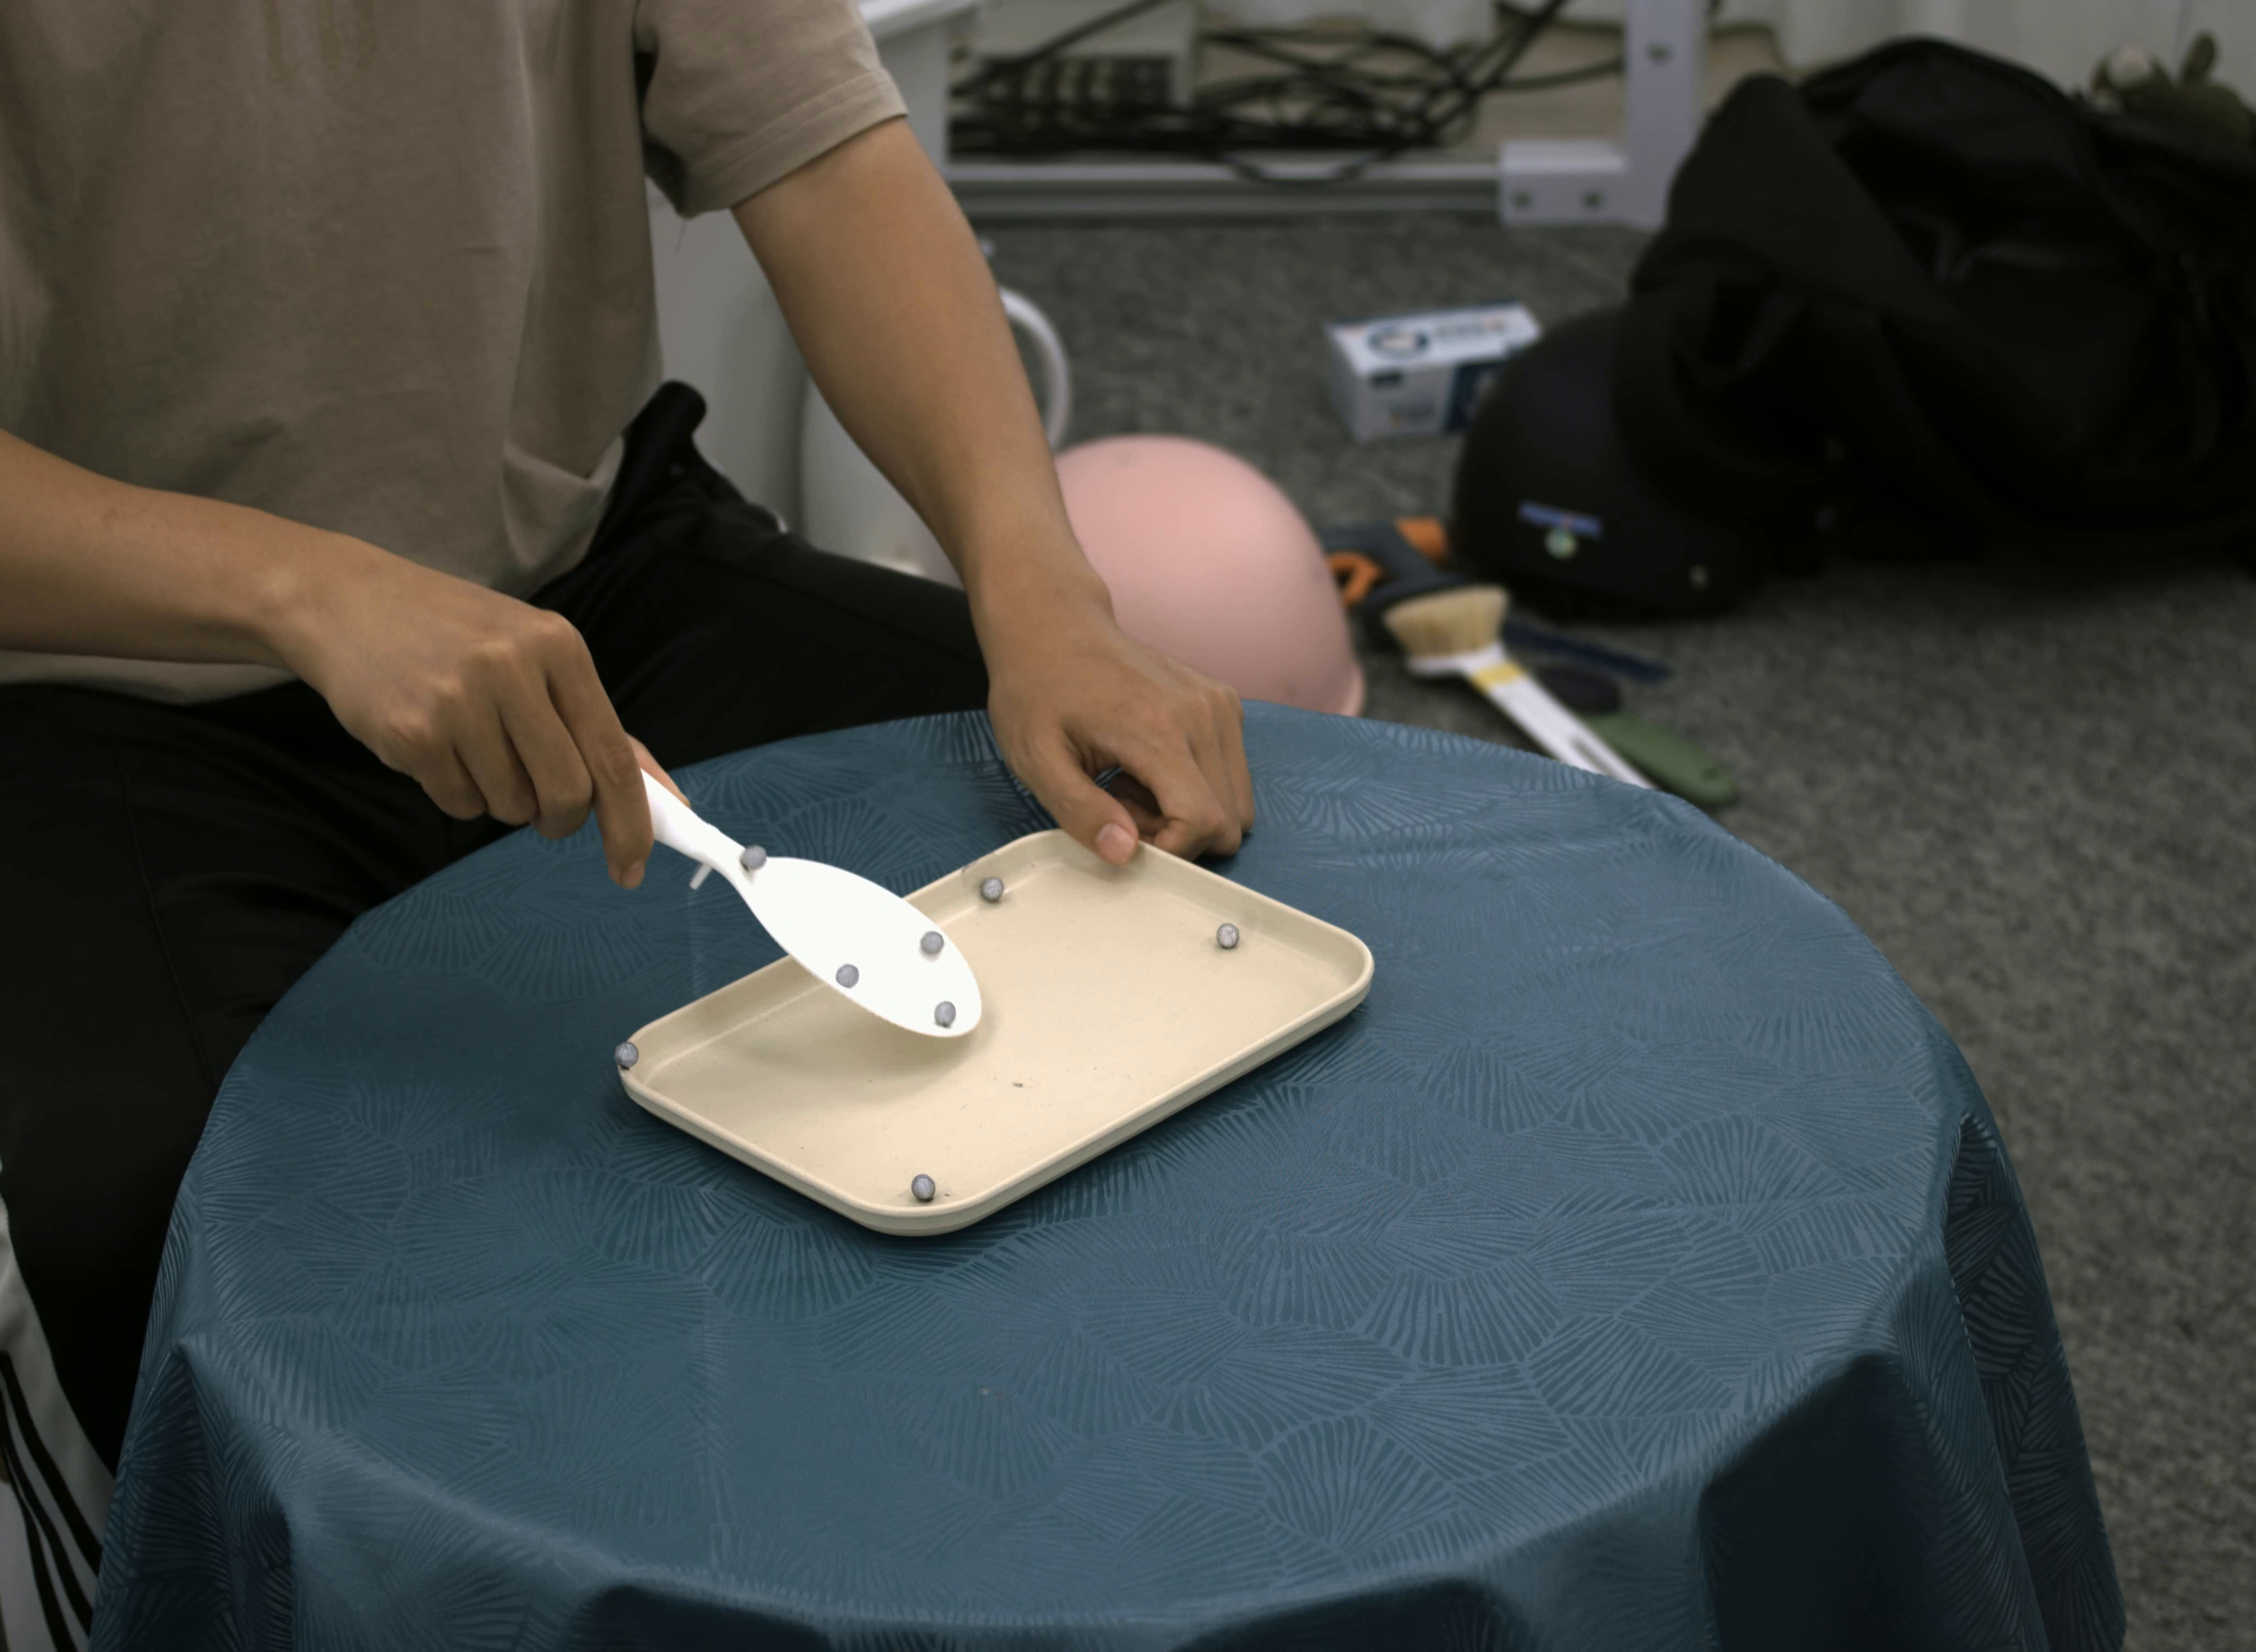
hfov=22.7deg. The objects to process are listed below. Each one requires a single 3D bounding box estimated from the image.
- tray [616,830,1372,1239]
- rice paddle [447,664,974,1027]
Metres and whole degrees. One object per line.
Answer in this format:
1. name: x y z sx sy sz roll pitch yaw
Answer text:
1. tray: -0.045 0.071 1.944 0.171 0.017 0.242 24 37 39
2. rice paddle: -0.138 0.009 1.927 0.204 0.029 0.070 31 30 -10
